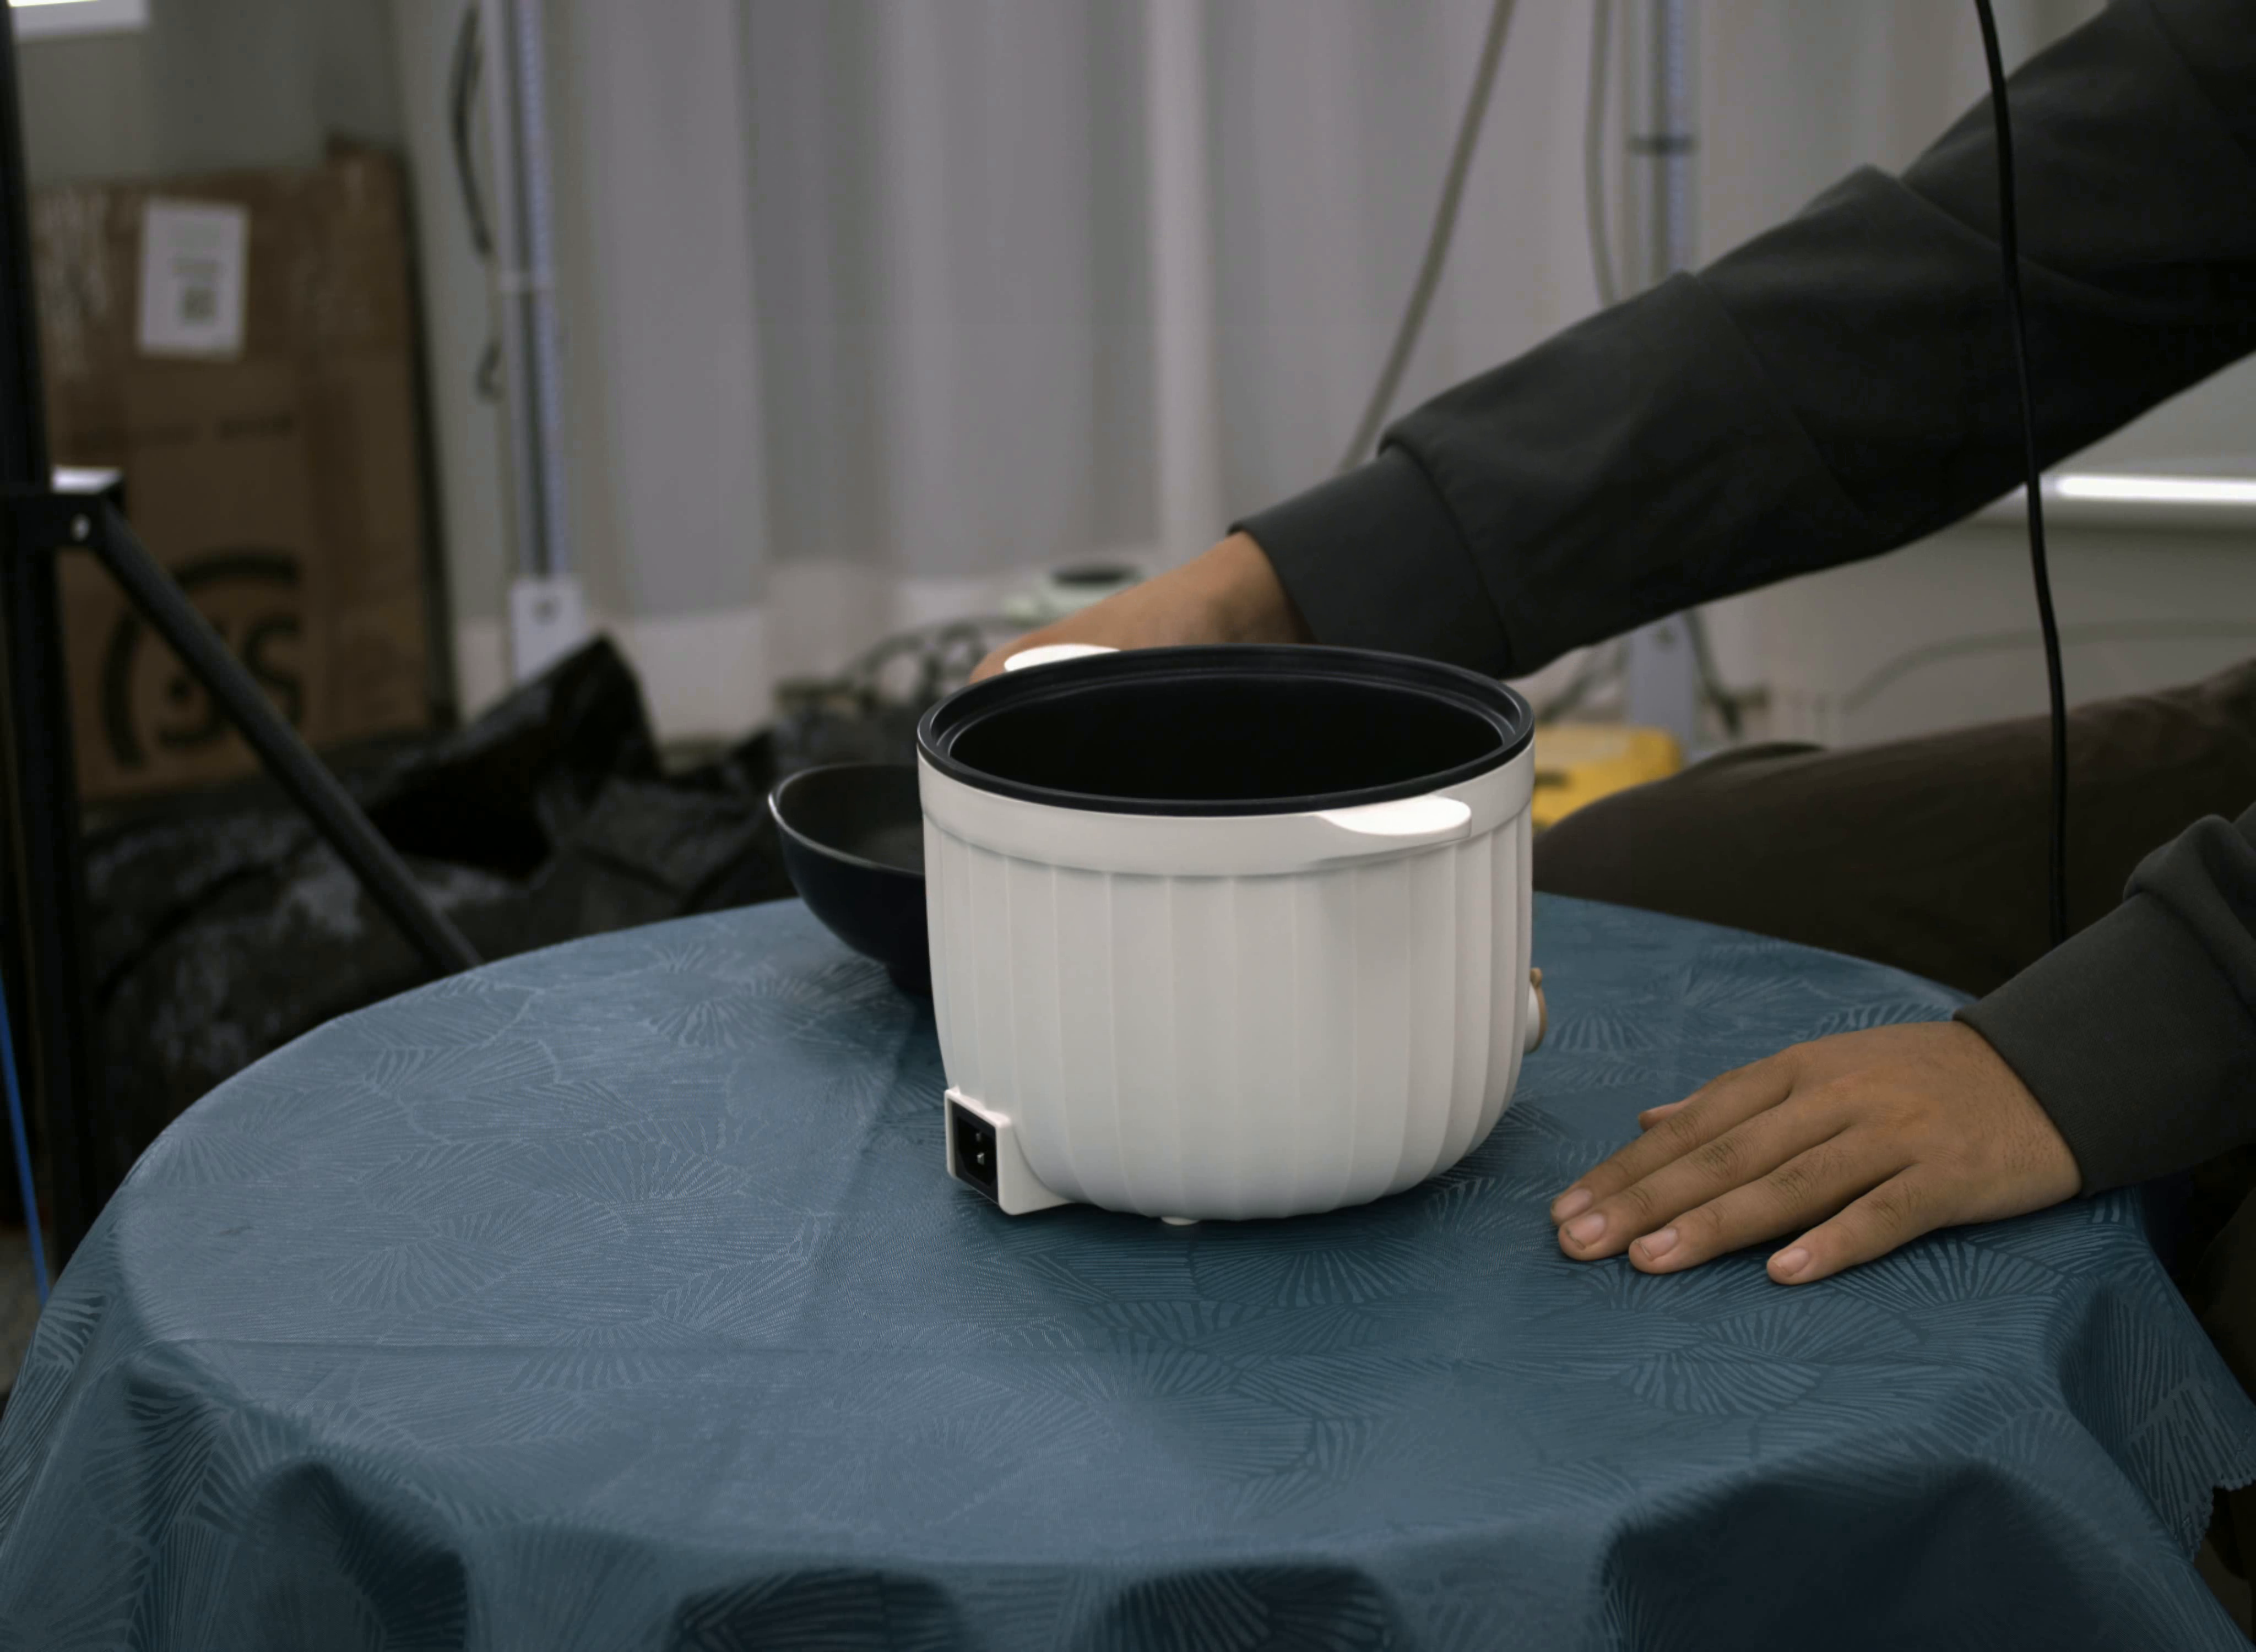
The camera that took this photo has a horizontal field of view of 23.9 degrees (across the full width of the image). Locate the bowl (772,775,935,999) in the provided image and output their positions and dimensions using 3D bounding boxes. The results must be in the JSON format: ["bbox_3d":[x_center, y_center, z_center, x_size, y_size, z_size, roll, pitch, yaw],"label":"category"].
[{"bbox_3d":[-0.049,0.019,1.760,0.136,0.067,0.172,-5,15,-9],"label":"bowl"}]

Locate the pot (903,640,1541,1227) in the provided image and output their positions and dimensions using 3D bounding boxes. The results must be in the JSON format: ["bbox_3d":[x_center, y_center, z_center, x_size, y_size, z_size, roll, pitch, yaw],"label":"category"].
[{"bbox_3d":[0.034,0.032,1.569,0.187,0.142,0.245,-13,20,-25],"label":"pot"}]
